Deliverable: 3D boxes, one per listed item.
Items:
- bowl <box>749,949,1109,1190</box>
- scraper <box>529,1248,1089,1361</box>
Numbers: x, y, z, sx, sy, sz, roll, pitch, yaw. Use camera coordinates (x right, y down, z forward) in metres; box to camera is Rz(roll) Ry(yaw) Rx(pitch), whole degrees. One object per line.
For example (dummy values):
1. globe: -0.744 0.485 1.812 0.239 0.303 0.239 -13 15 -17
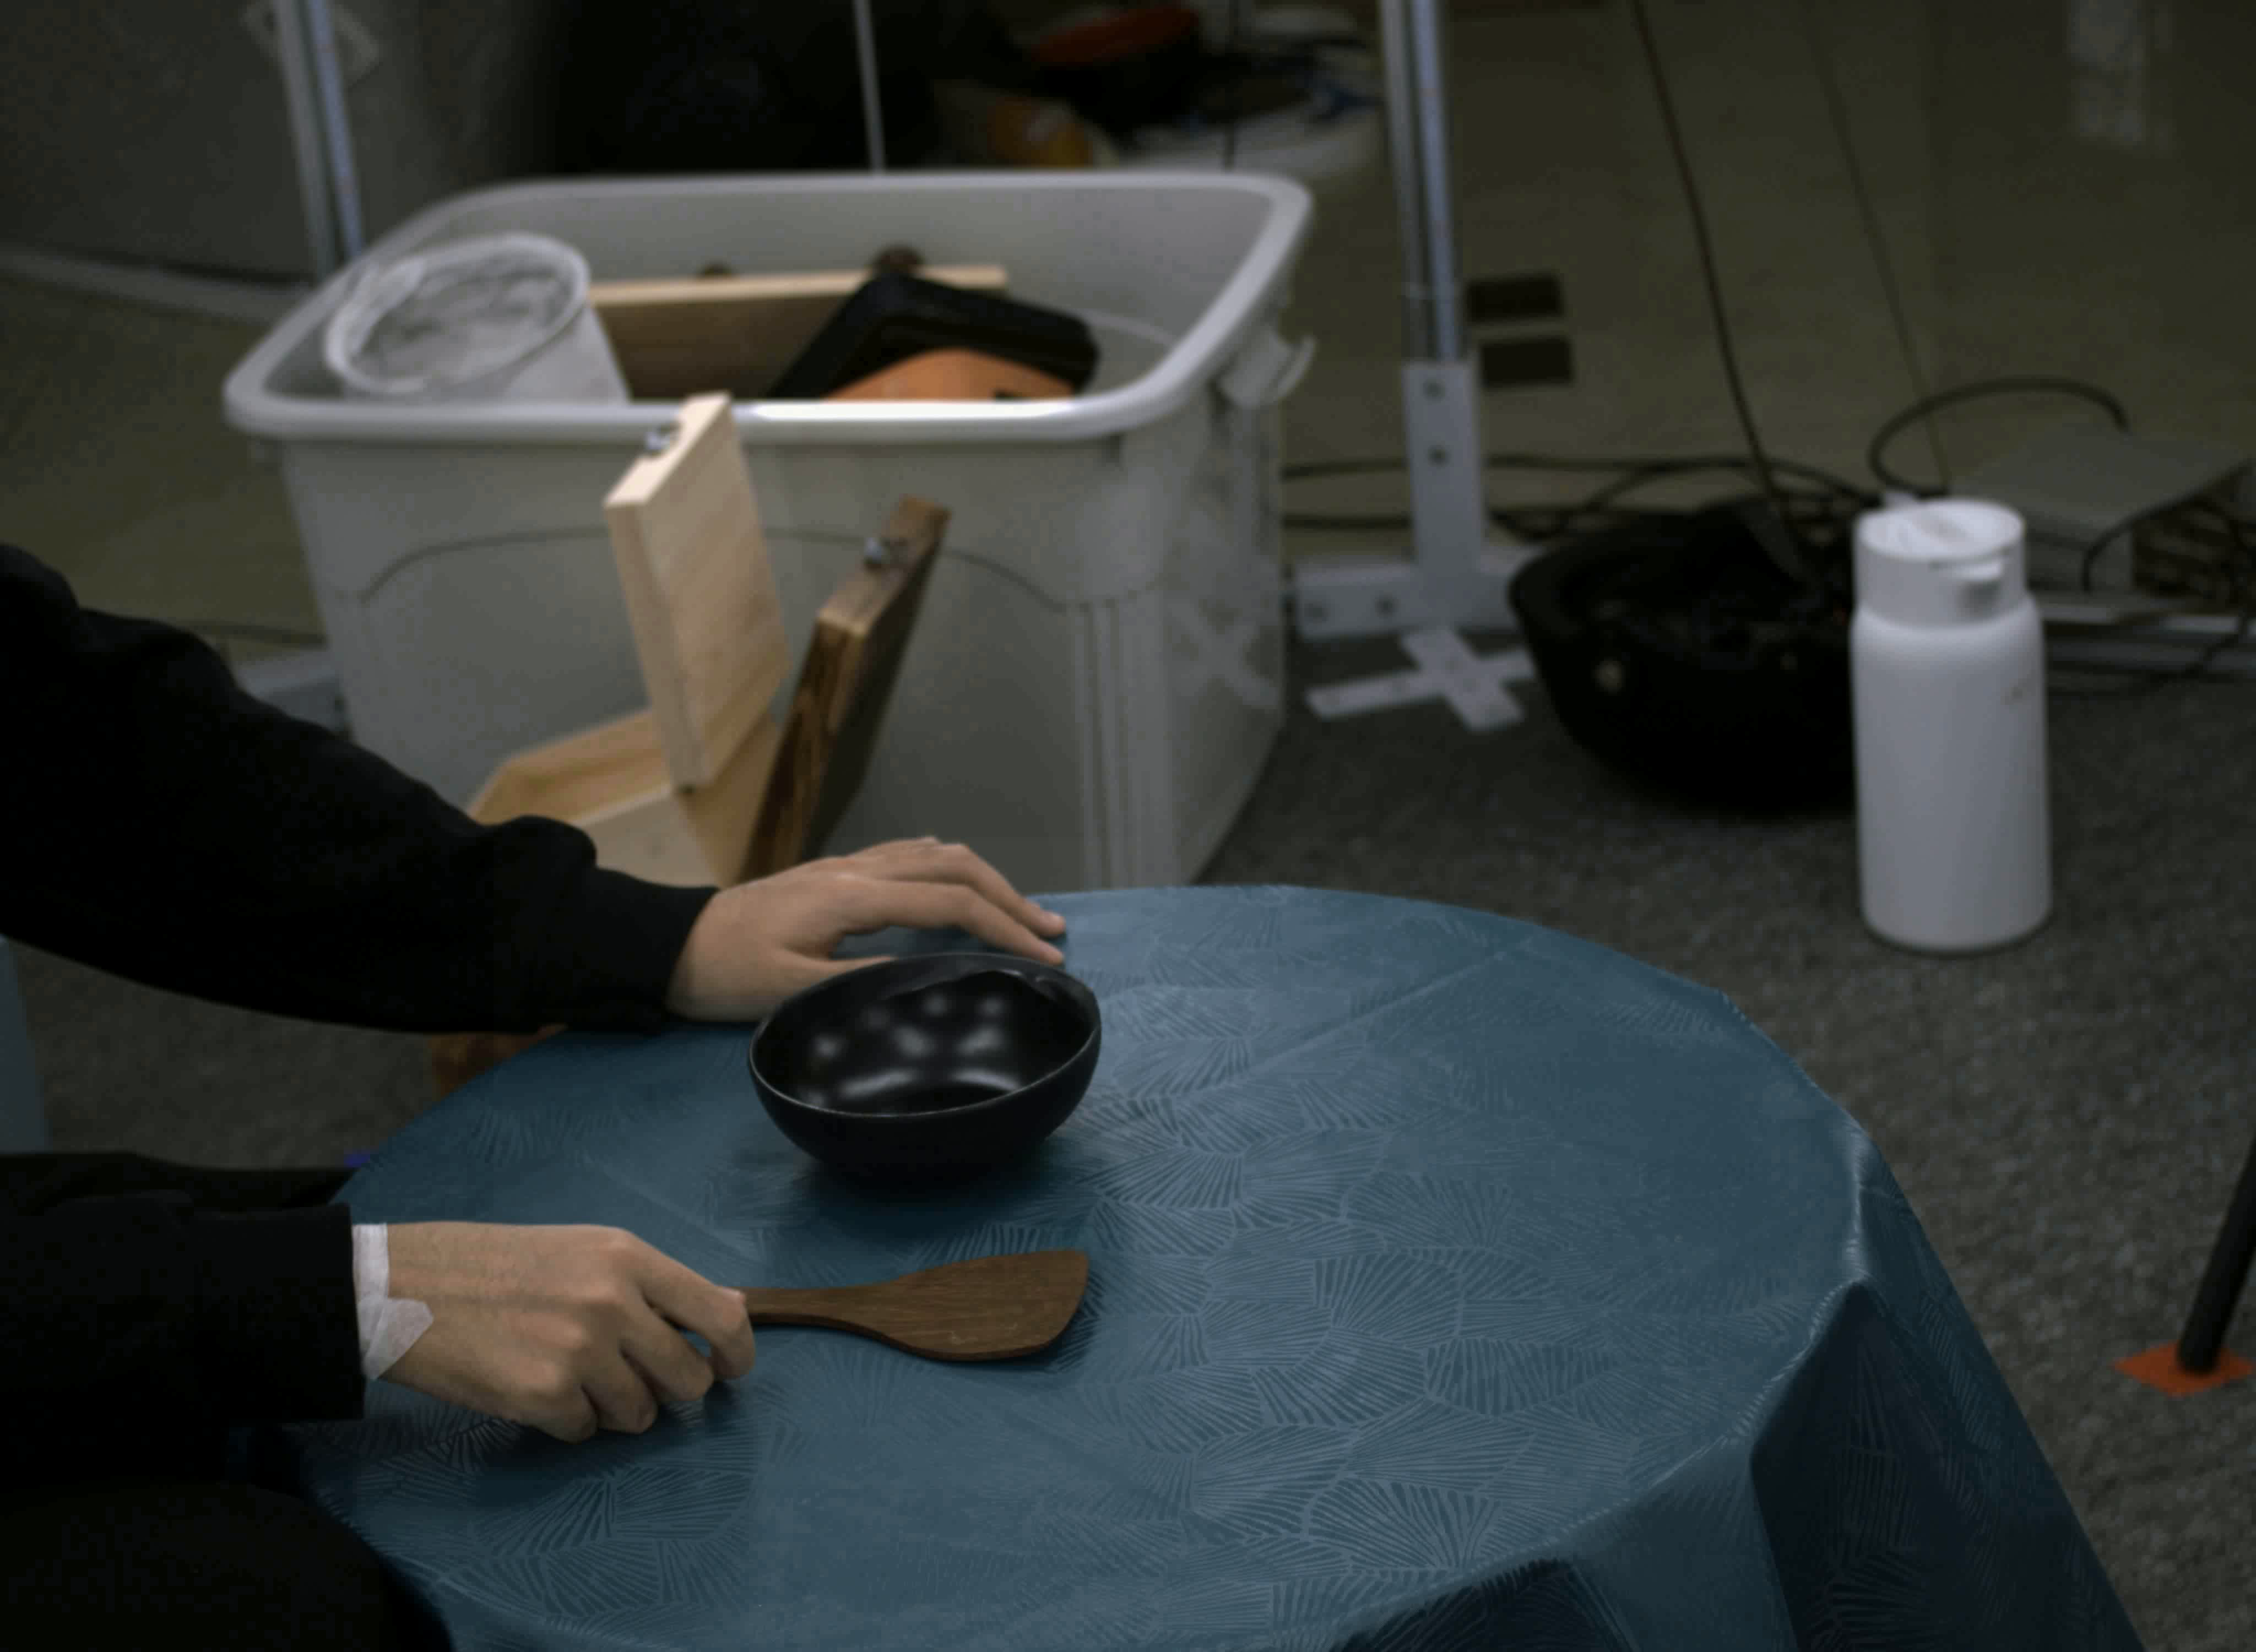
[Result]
1. bowl: -0.075 0.102 2.195 0.140 0.050 0.138 -6 28 3
2. scraper: -0.119 0.177 2.091 0.211 0.011 0.075 -1 25 13
